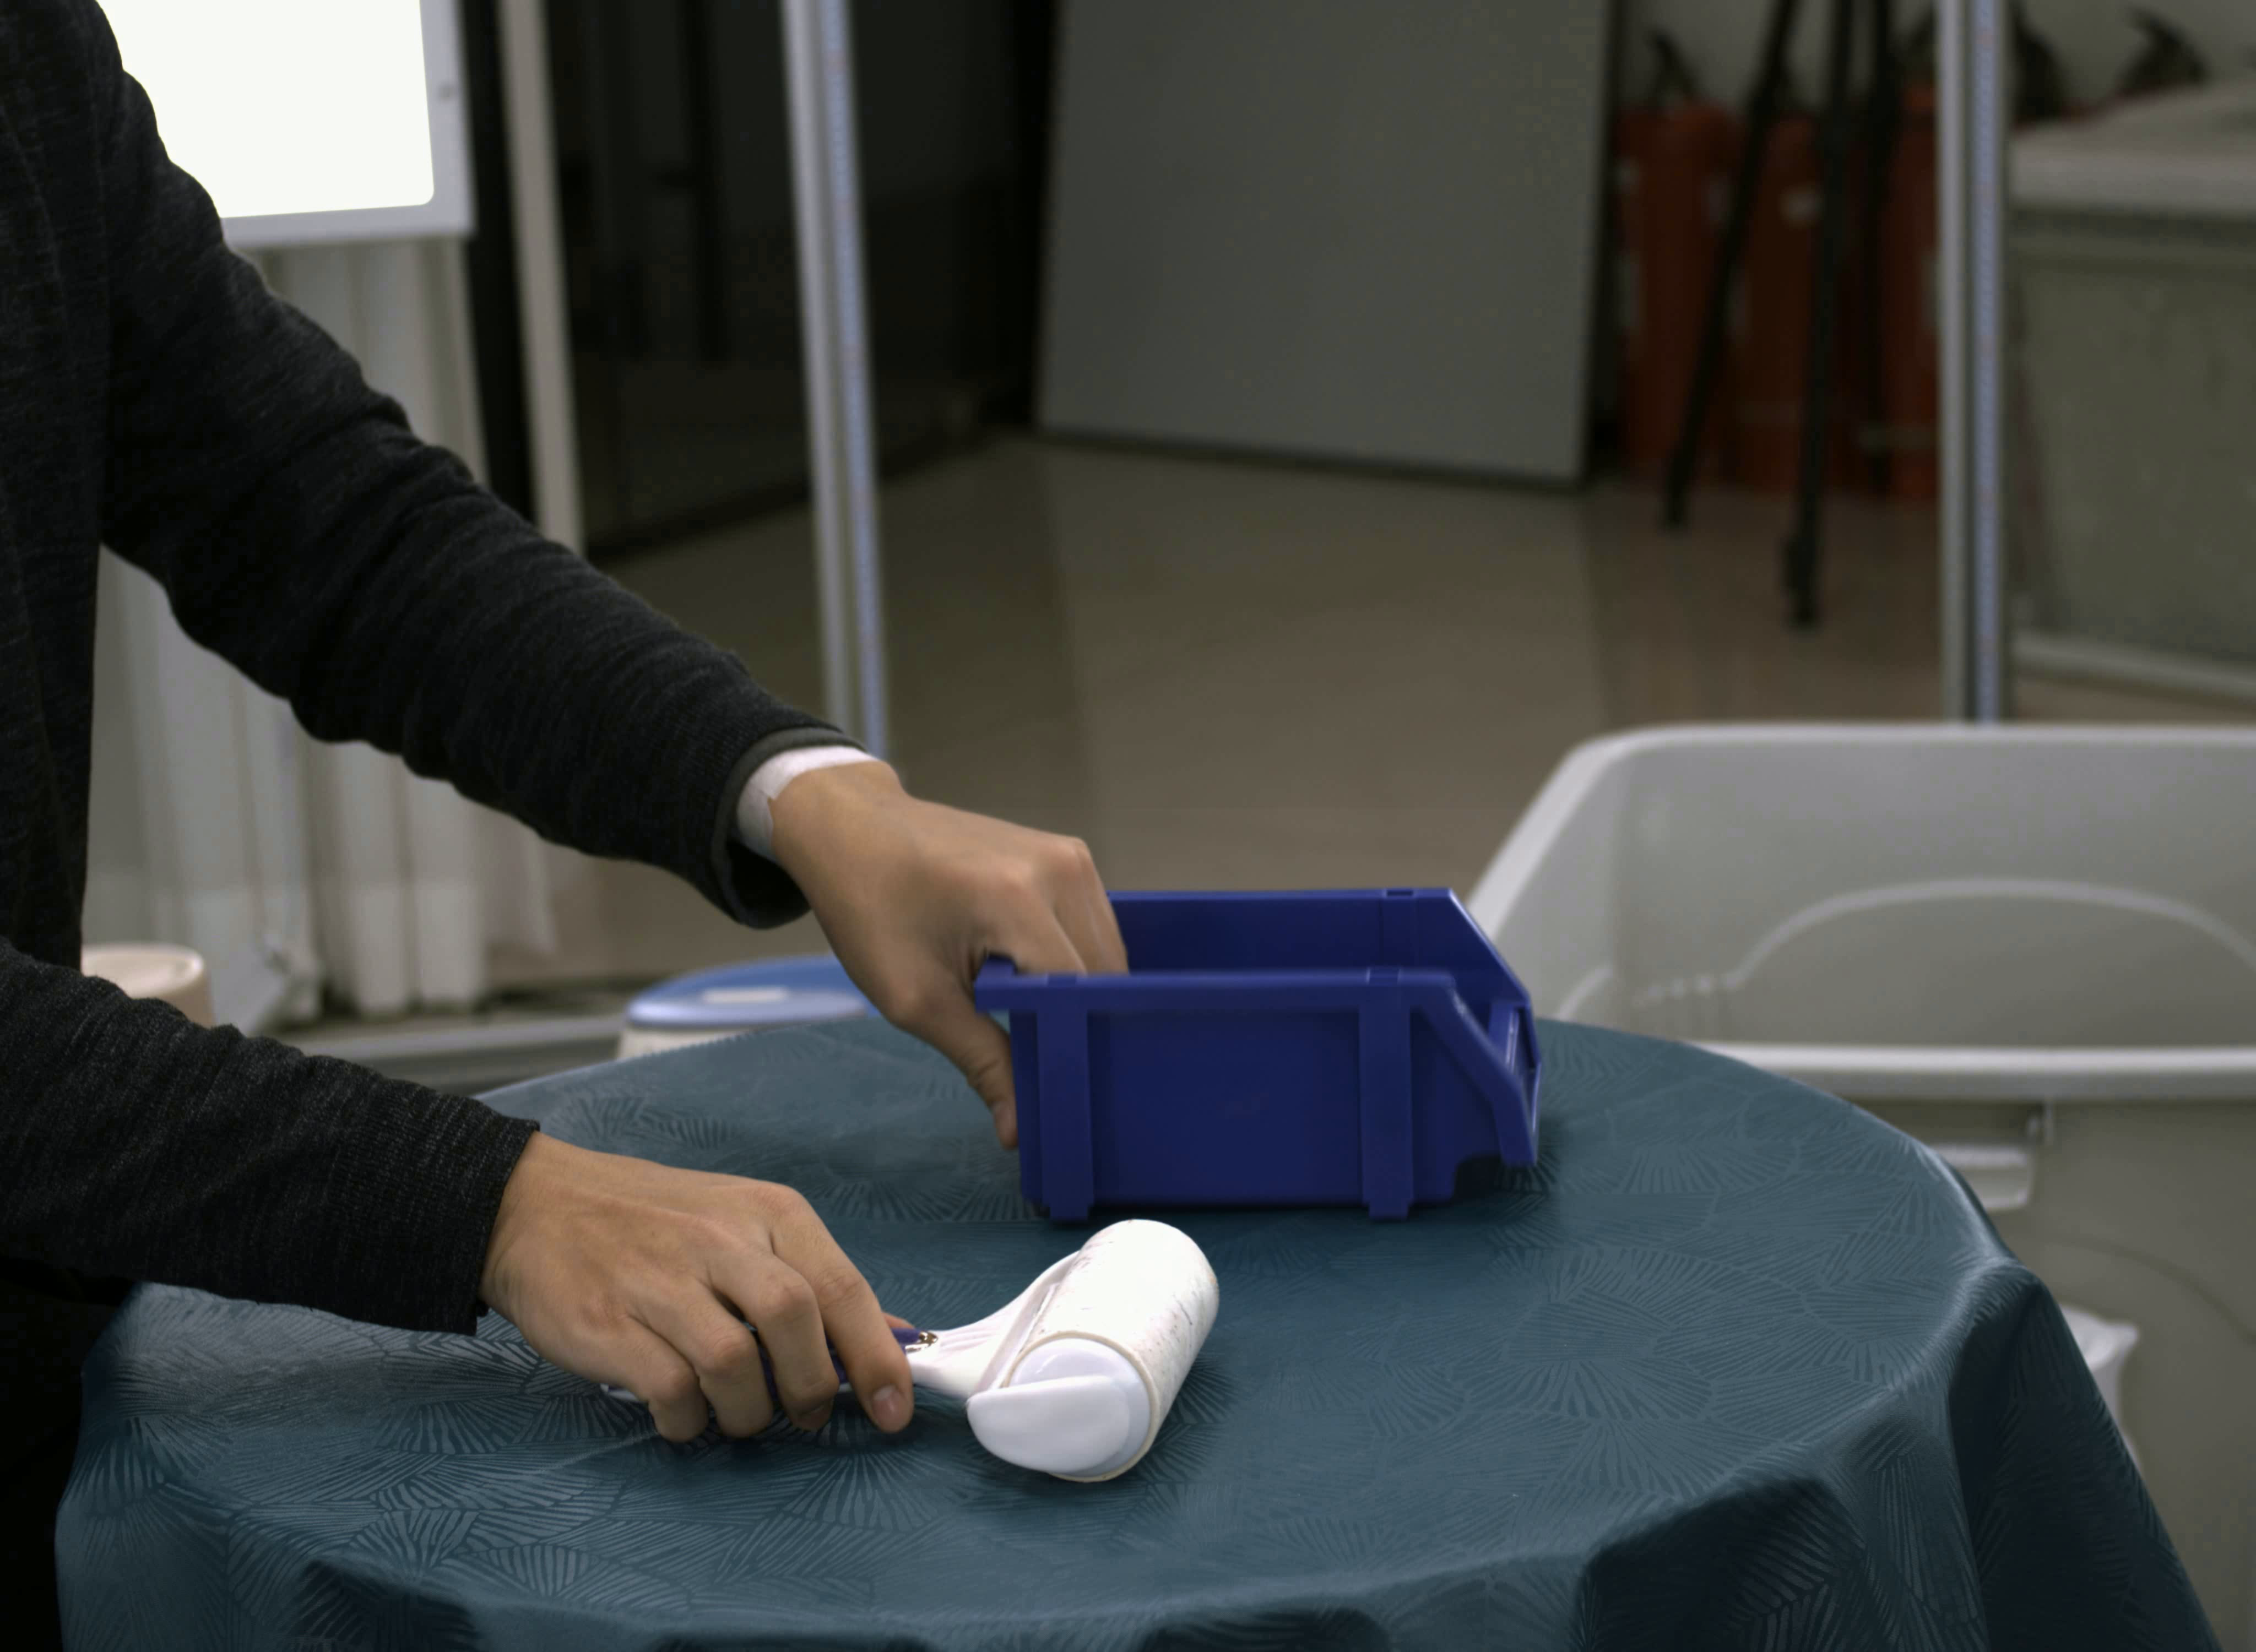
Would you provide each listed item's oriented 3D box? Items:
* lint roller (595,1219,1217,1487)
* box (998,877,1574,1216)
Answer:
[{"bbox_3d":[-0.068,0.146,1.570,0.180,0.051,0.132,5,16,13],"label":"lint roller"},{"bbox_3d":[0.056,0.071,1.773,0.178,0.083,0.124,-4,11,8],"label":"box"}]
